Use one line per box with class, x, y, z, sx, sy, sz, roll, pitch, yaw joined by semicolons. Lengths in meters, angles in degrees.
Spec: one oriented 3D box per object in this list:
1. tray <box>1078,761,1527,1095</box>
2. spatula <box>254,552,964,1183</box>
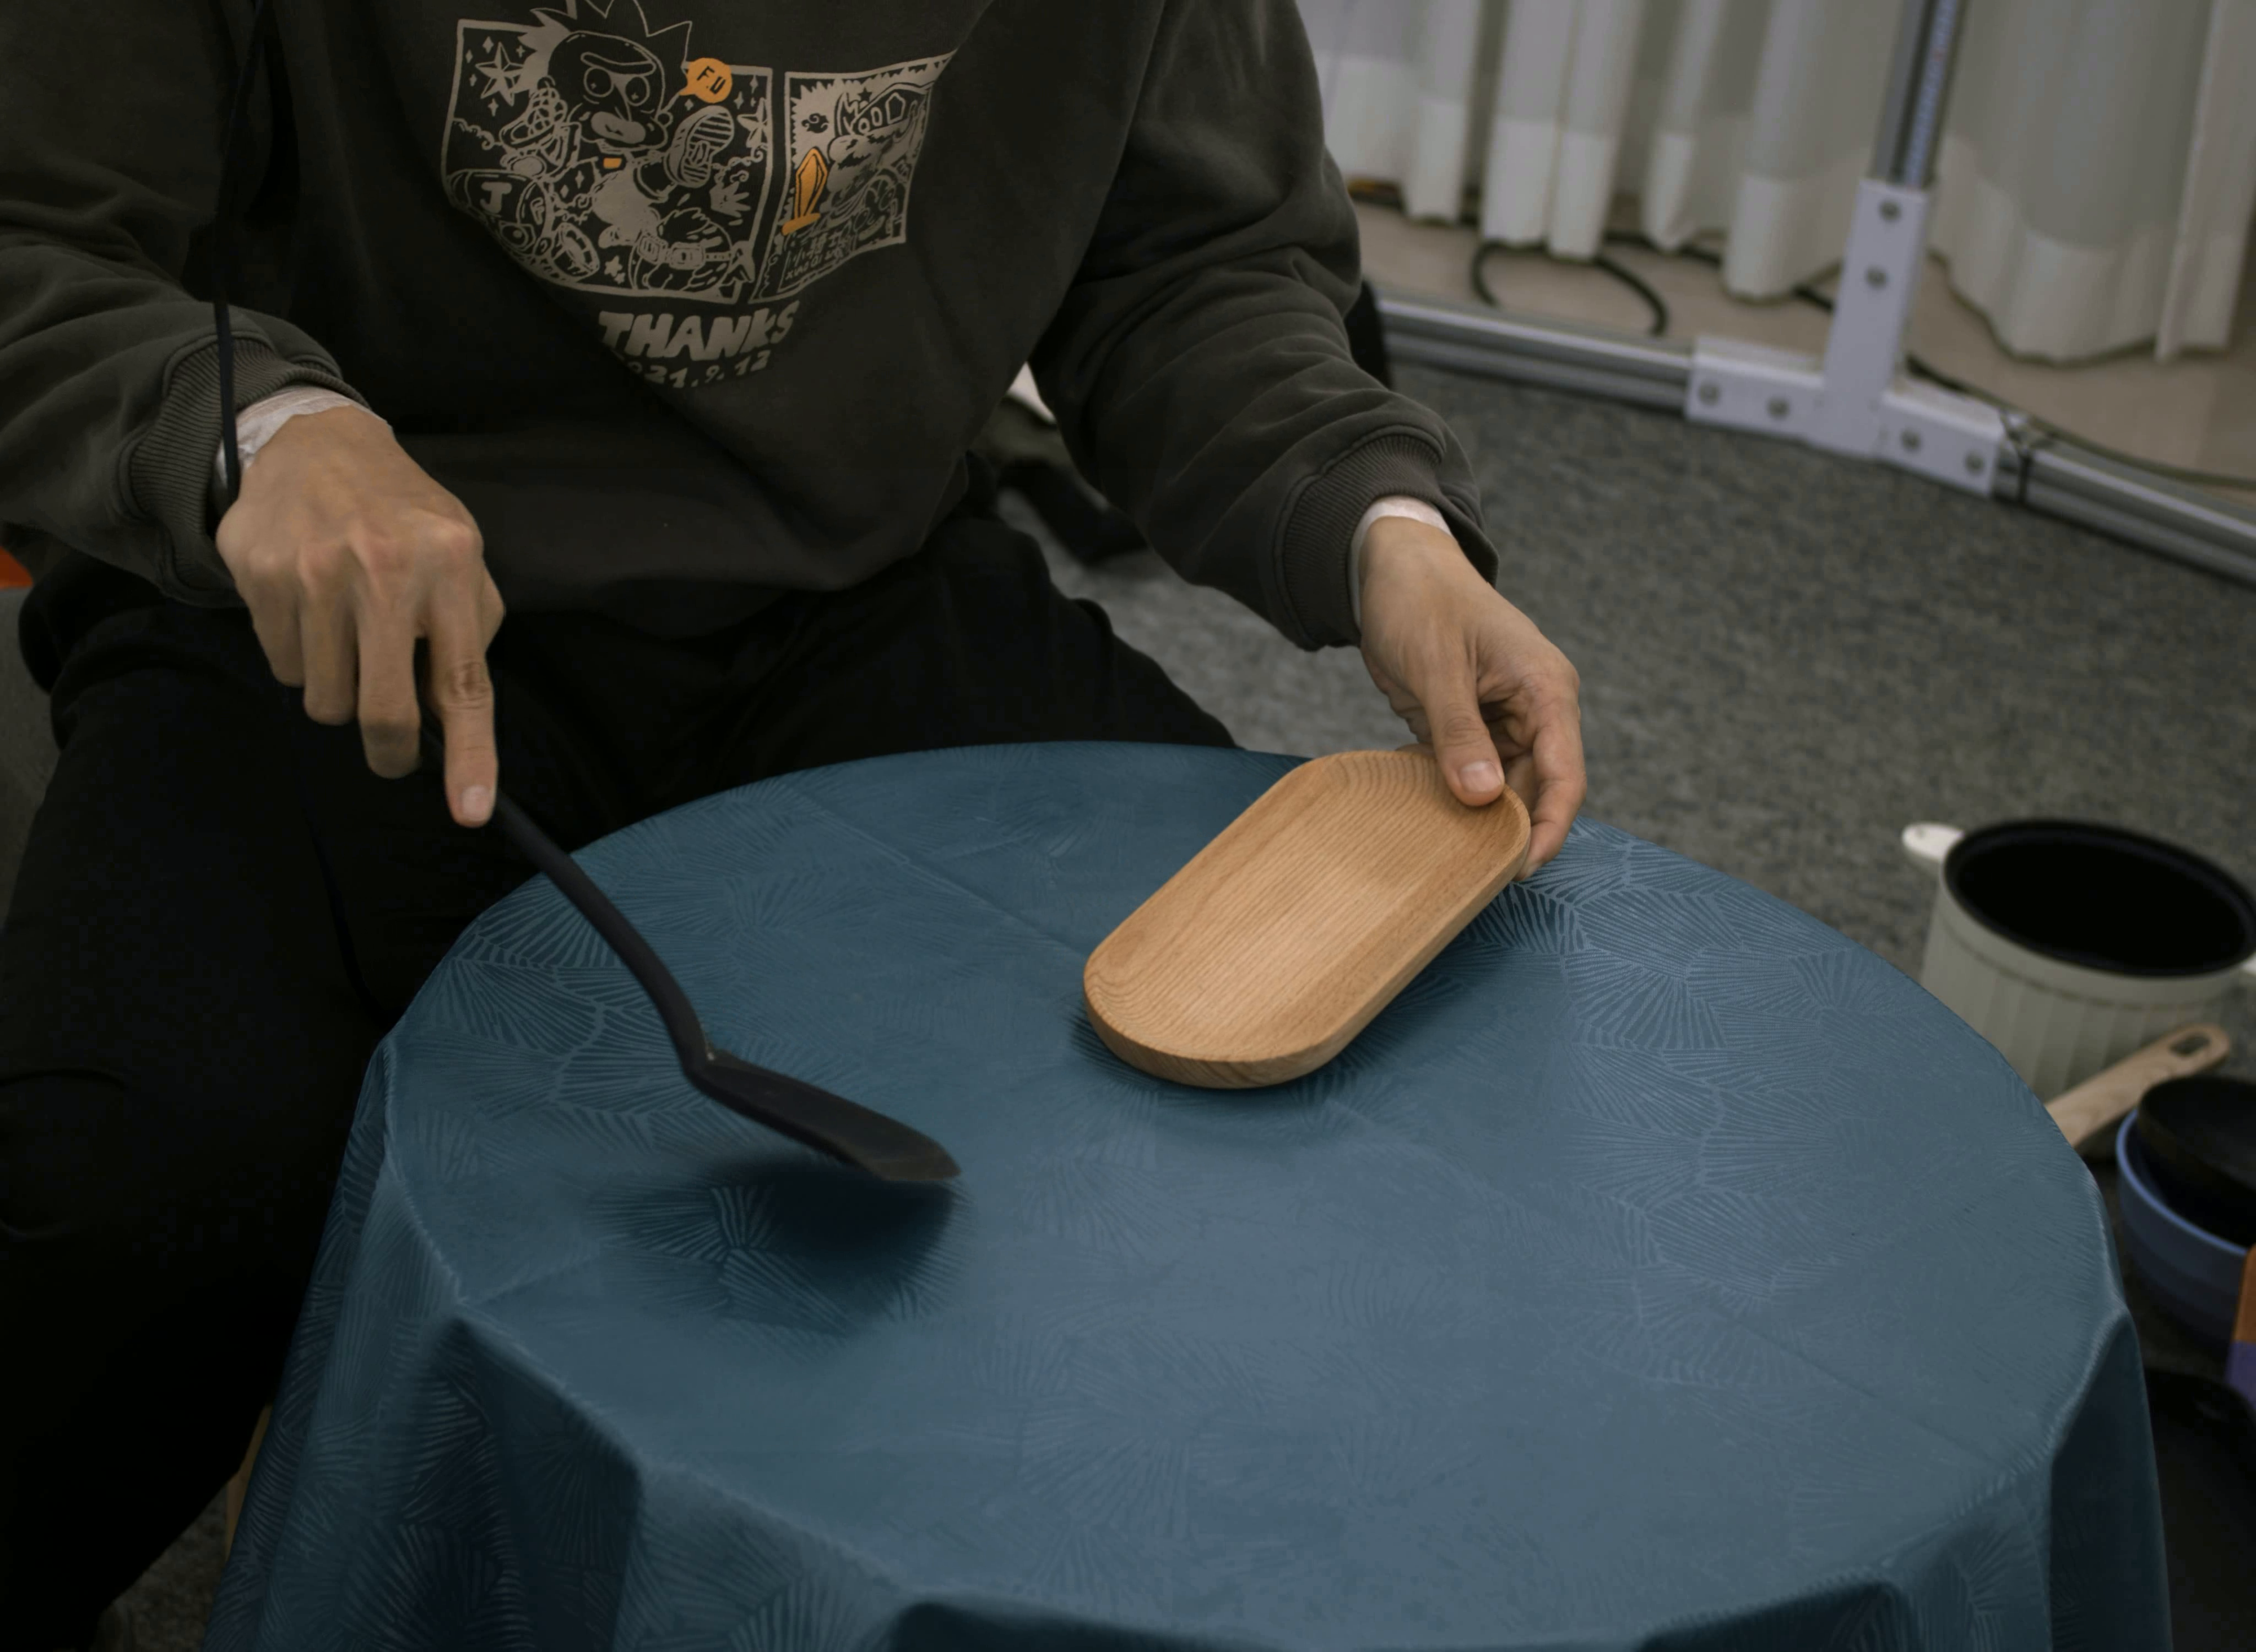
tray;0.066;0.035;1.952;0.102;0.020;0.231;17;36;26
spatula;-0.183;0.013;1.791;0.328;0.040;0.099;47;9;15
